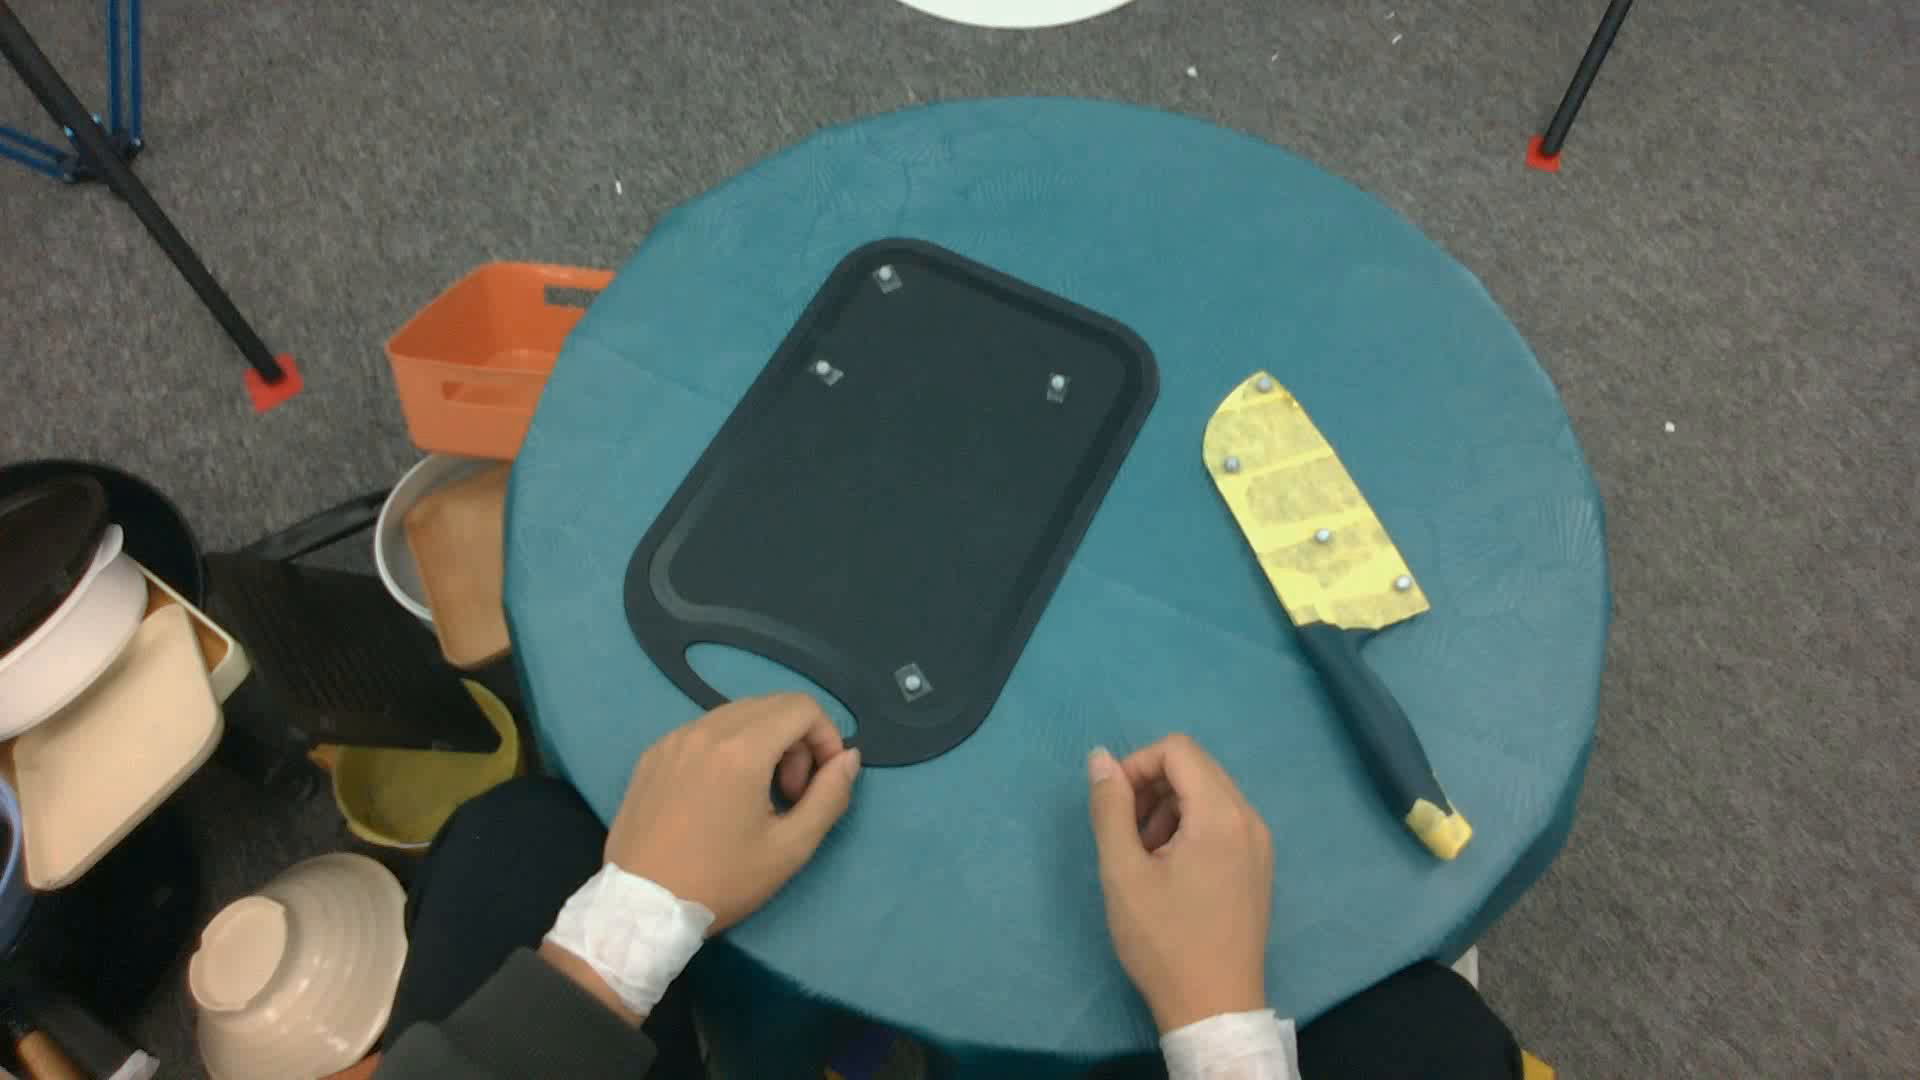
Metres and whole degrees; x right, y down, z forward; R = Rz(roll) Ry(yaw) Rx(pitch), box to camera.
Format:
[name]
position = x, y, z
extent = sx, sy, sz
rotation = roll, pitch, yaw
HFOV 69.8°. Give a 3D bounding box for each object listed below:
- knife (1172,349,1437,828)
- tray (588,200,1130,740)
[knife]
position = 0.188, 0.013, 0.732
extent = 0.081, 0.027, 0.290
rotation = -15, 64, -9
[tray]
position = -0.051, -0.048, 0.751
extent = 0.211, 0.010, 0.327
rotation = 26, 64, 9
